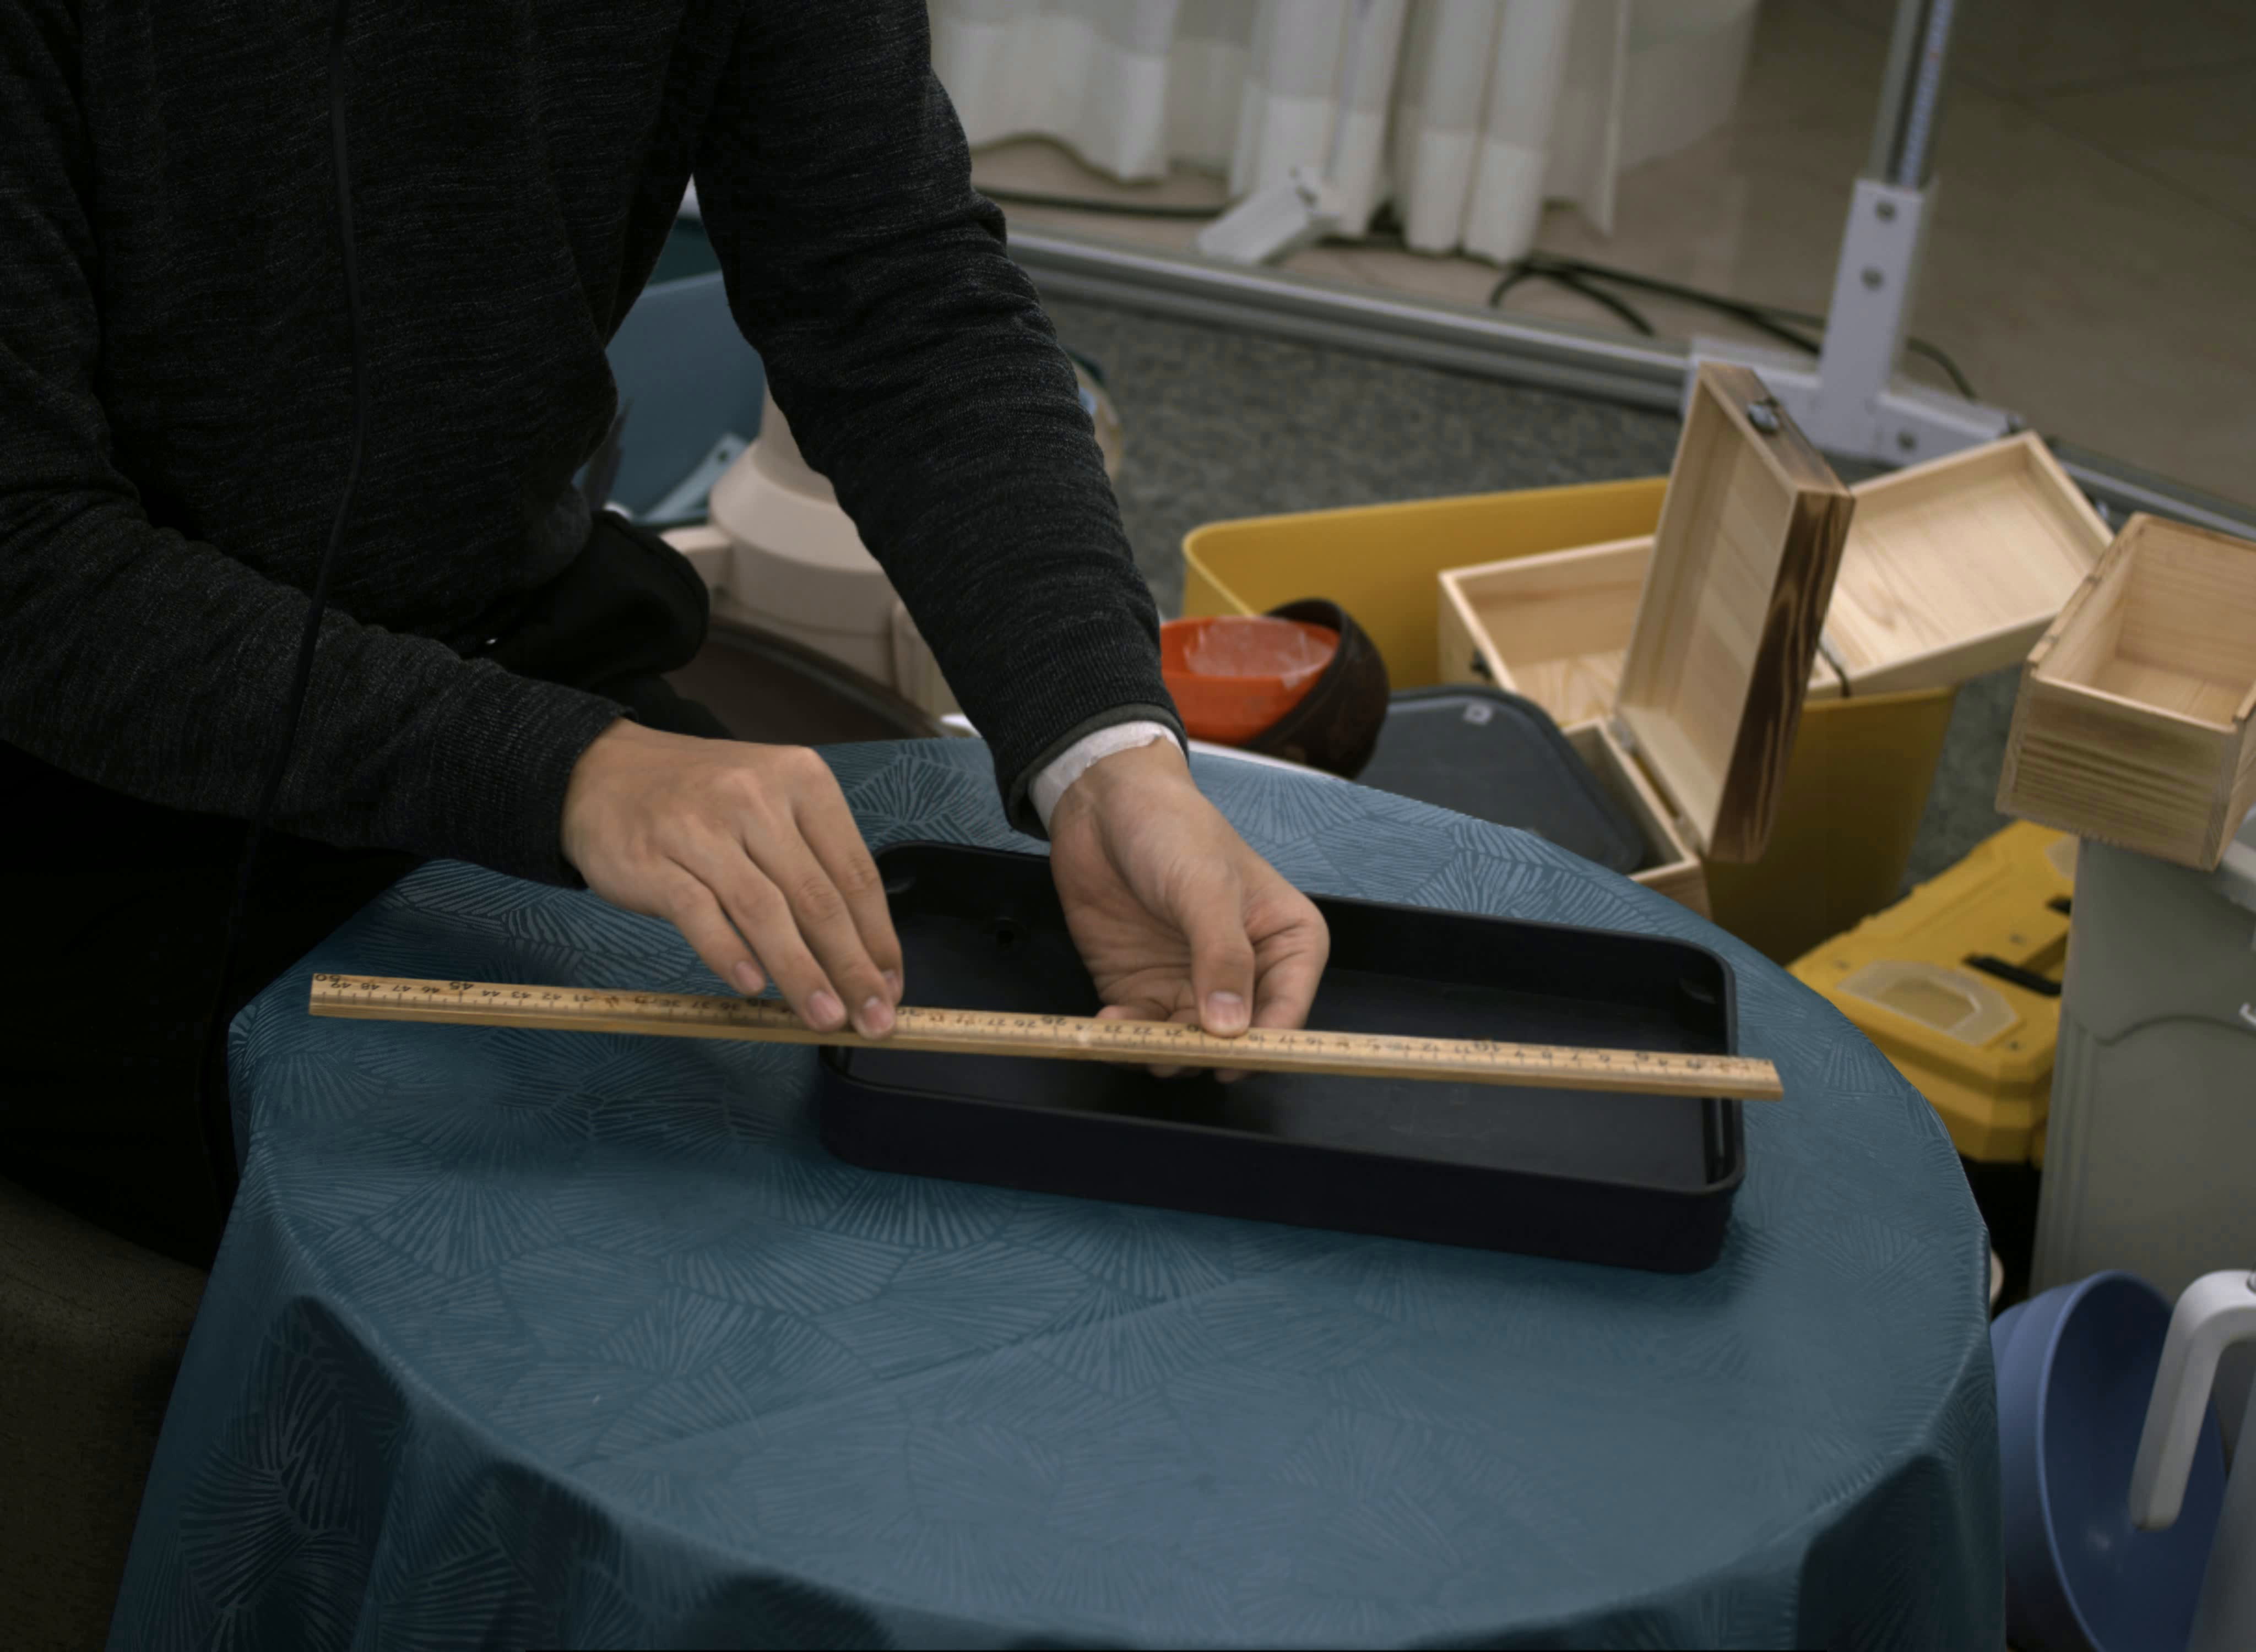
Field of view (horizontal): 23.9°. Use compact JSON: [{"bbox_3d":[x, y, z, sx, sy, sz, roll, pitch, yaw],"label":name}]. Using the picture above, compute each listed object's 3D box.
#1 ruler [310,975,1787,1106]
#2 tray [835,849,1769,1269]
[{"bbox_3d":[-0.025,0.072,1.797,0.498,0.006,0.027,4,21,-4],"label":"ruler"},{"bbox_3d":[0.061,0.079,1.863,0.317,0.037,0.185,6,27,1],"label":"tray"}]
